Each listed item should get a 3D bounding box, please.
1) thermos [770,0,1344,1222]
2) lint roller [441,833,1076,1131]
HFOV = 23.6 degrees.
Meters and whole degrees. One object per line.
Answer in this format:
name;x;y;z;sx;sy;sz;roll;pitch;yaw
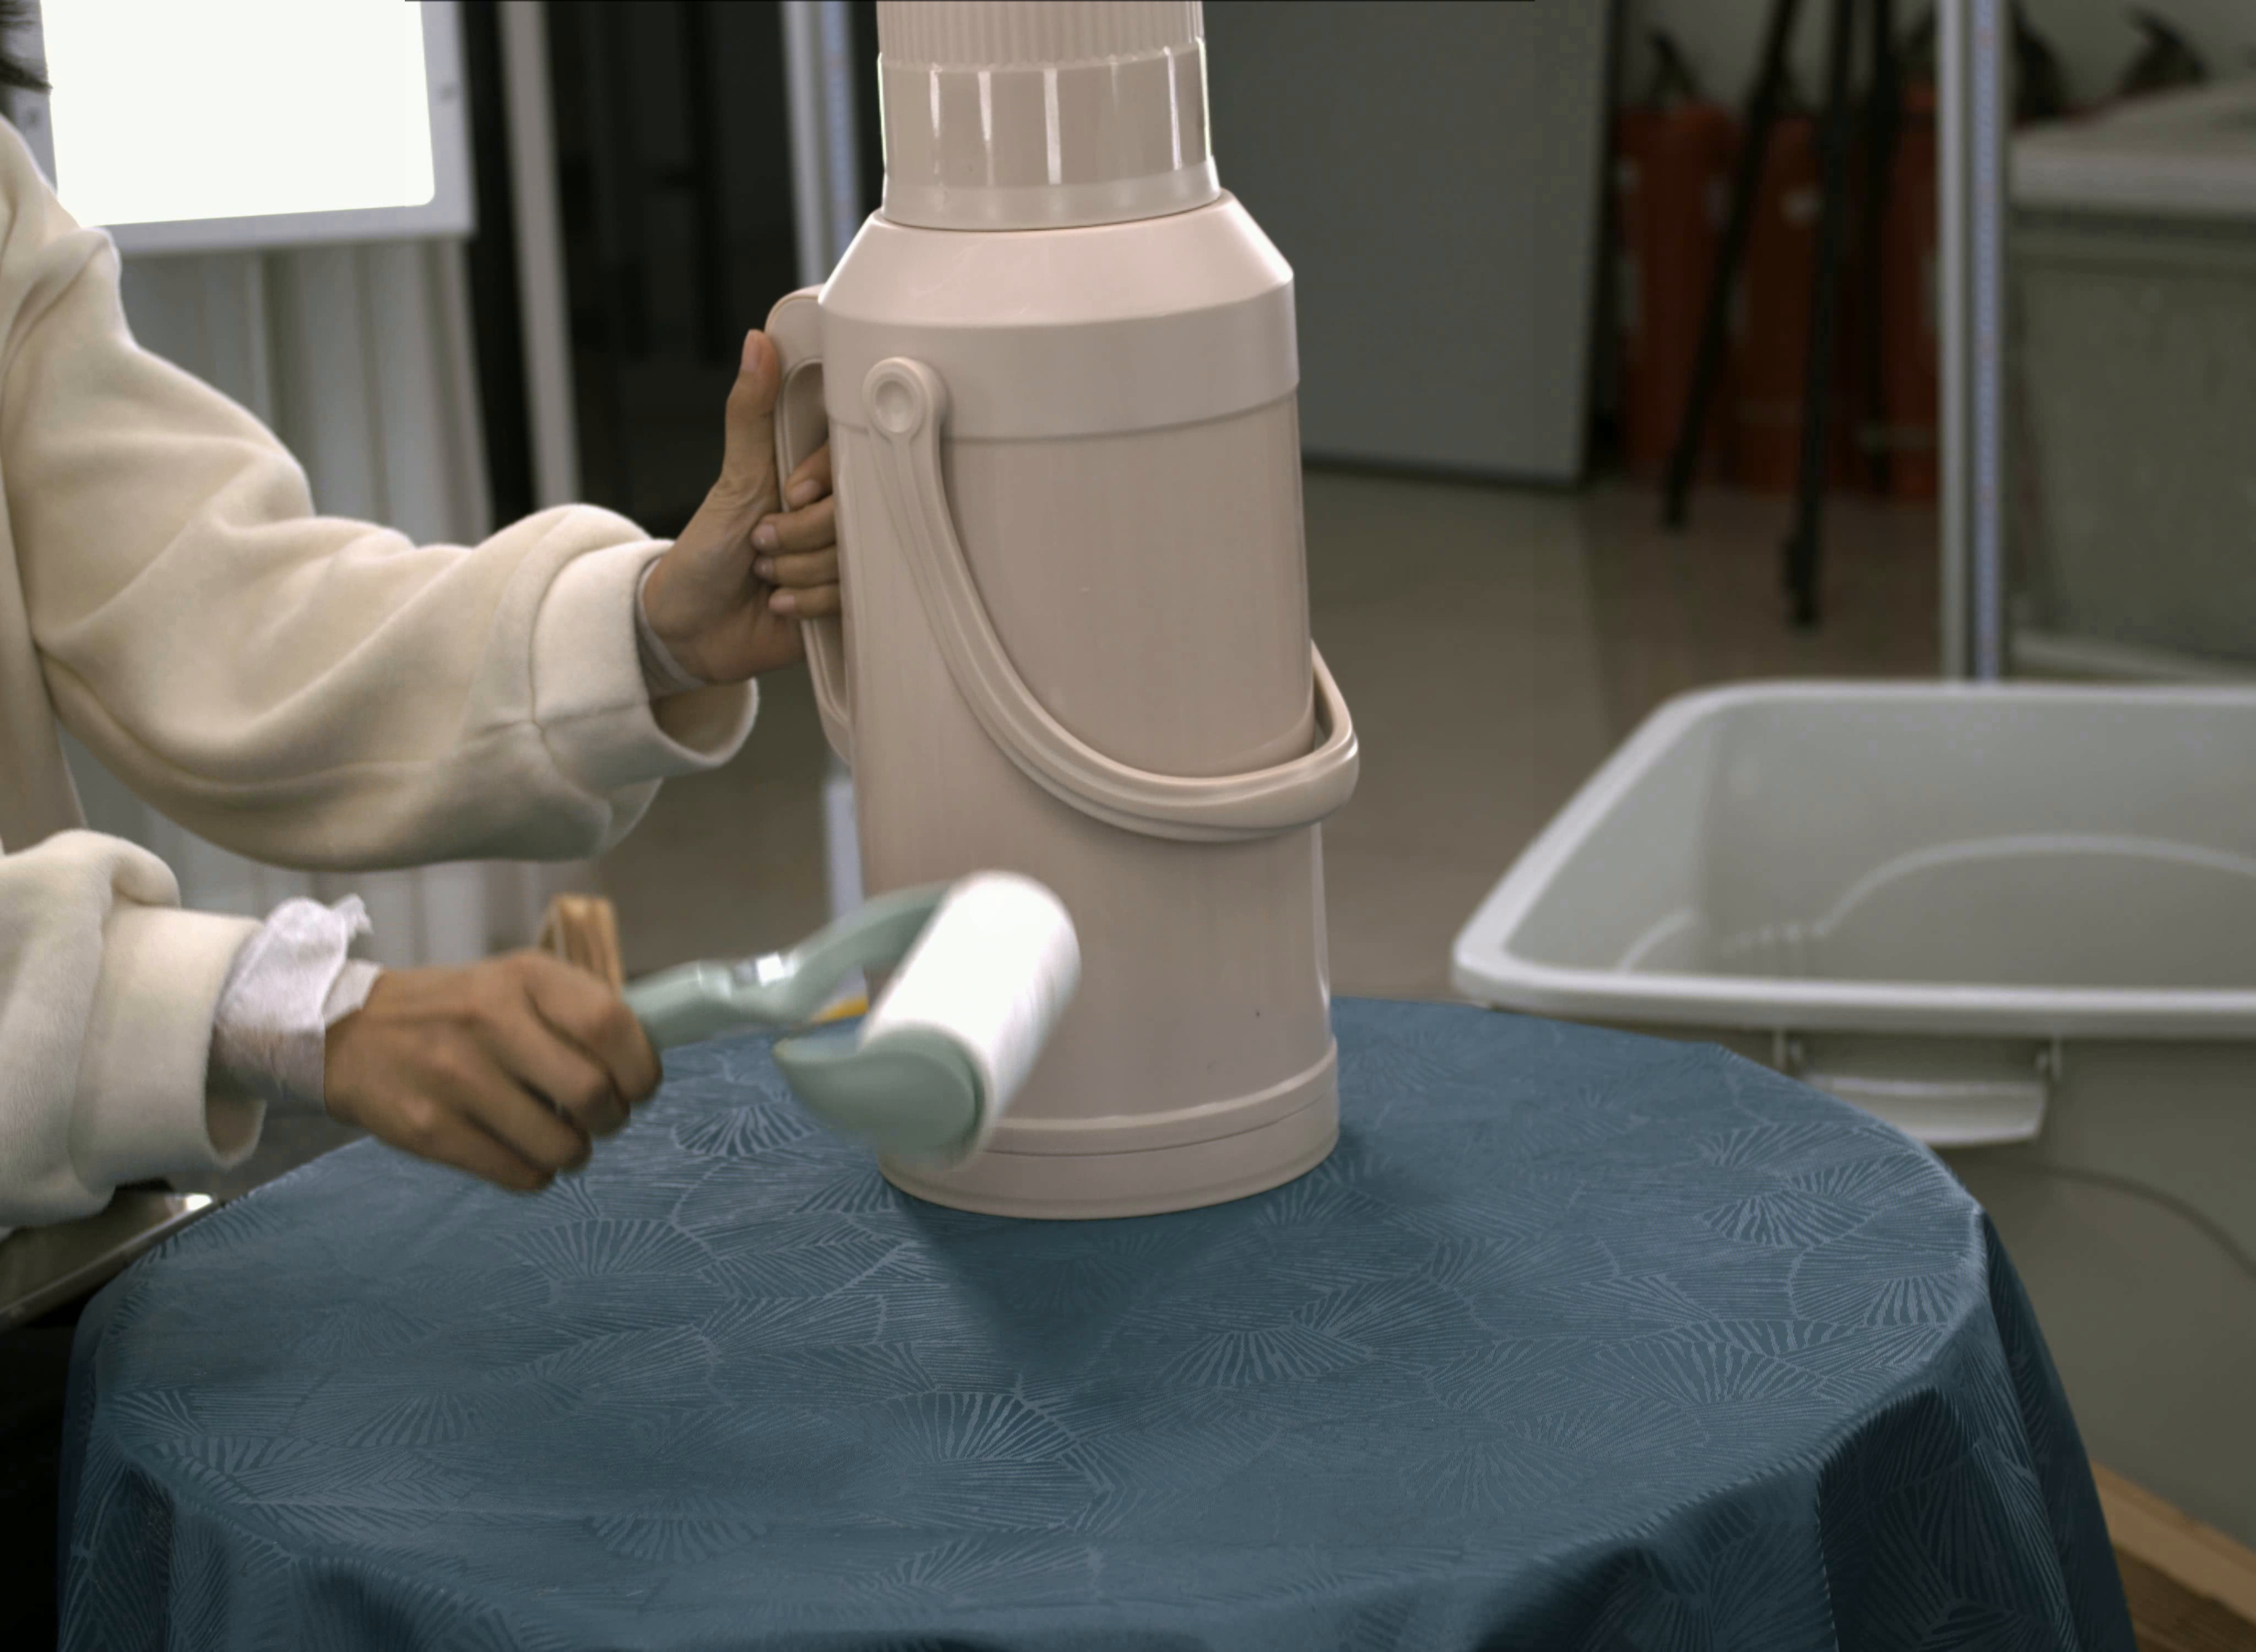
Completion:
thermos;-0.028;-0.085;1.783;0.208;0.411;0.172;6;17;37
lint roller;-0.116;0.053;1.603;0.197;0.049;0.116;-7;23;19
